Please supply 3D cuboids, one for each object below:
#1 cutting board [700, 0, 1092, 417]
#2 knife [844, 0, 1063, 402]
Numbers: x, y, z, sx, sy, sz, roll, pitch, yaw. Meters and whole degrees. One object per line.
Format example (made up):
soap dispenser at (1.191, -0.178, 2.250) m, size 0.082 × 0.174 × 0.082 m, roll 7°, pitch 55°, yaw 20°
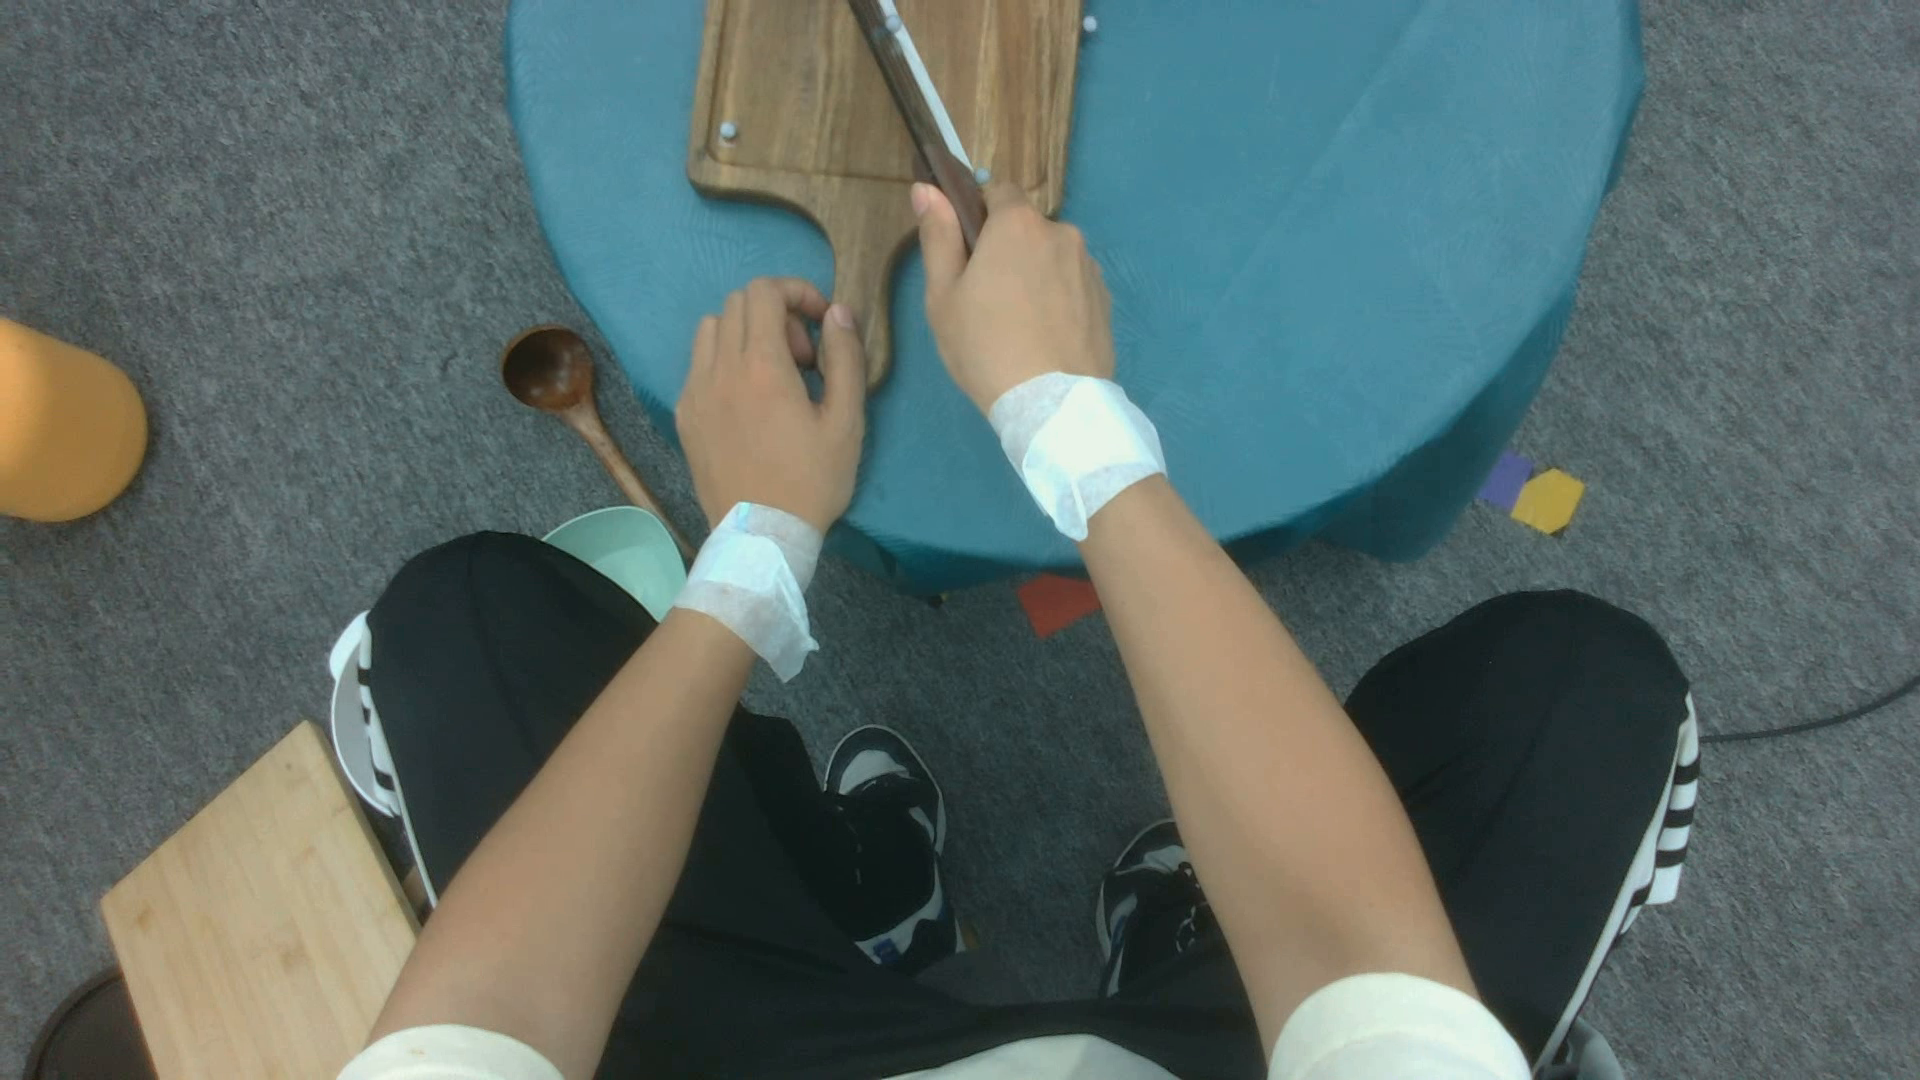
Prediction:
cutting board at (-0.035, -0.239, 0.745) m, size 0.201 × 0.023 × 0.352 m, roll 6°, pitch 82°, yaw 4°
knife at (-0.010, -0.196, 0.688) m, size 0.024 × 0.068 × 0.300 m, roll -31°, pitch 73°, yaw 23°
